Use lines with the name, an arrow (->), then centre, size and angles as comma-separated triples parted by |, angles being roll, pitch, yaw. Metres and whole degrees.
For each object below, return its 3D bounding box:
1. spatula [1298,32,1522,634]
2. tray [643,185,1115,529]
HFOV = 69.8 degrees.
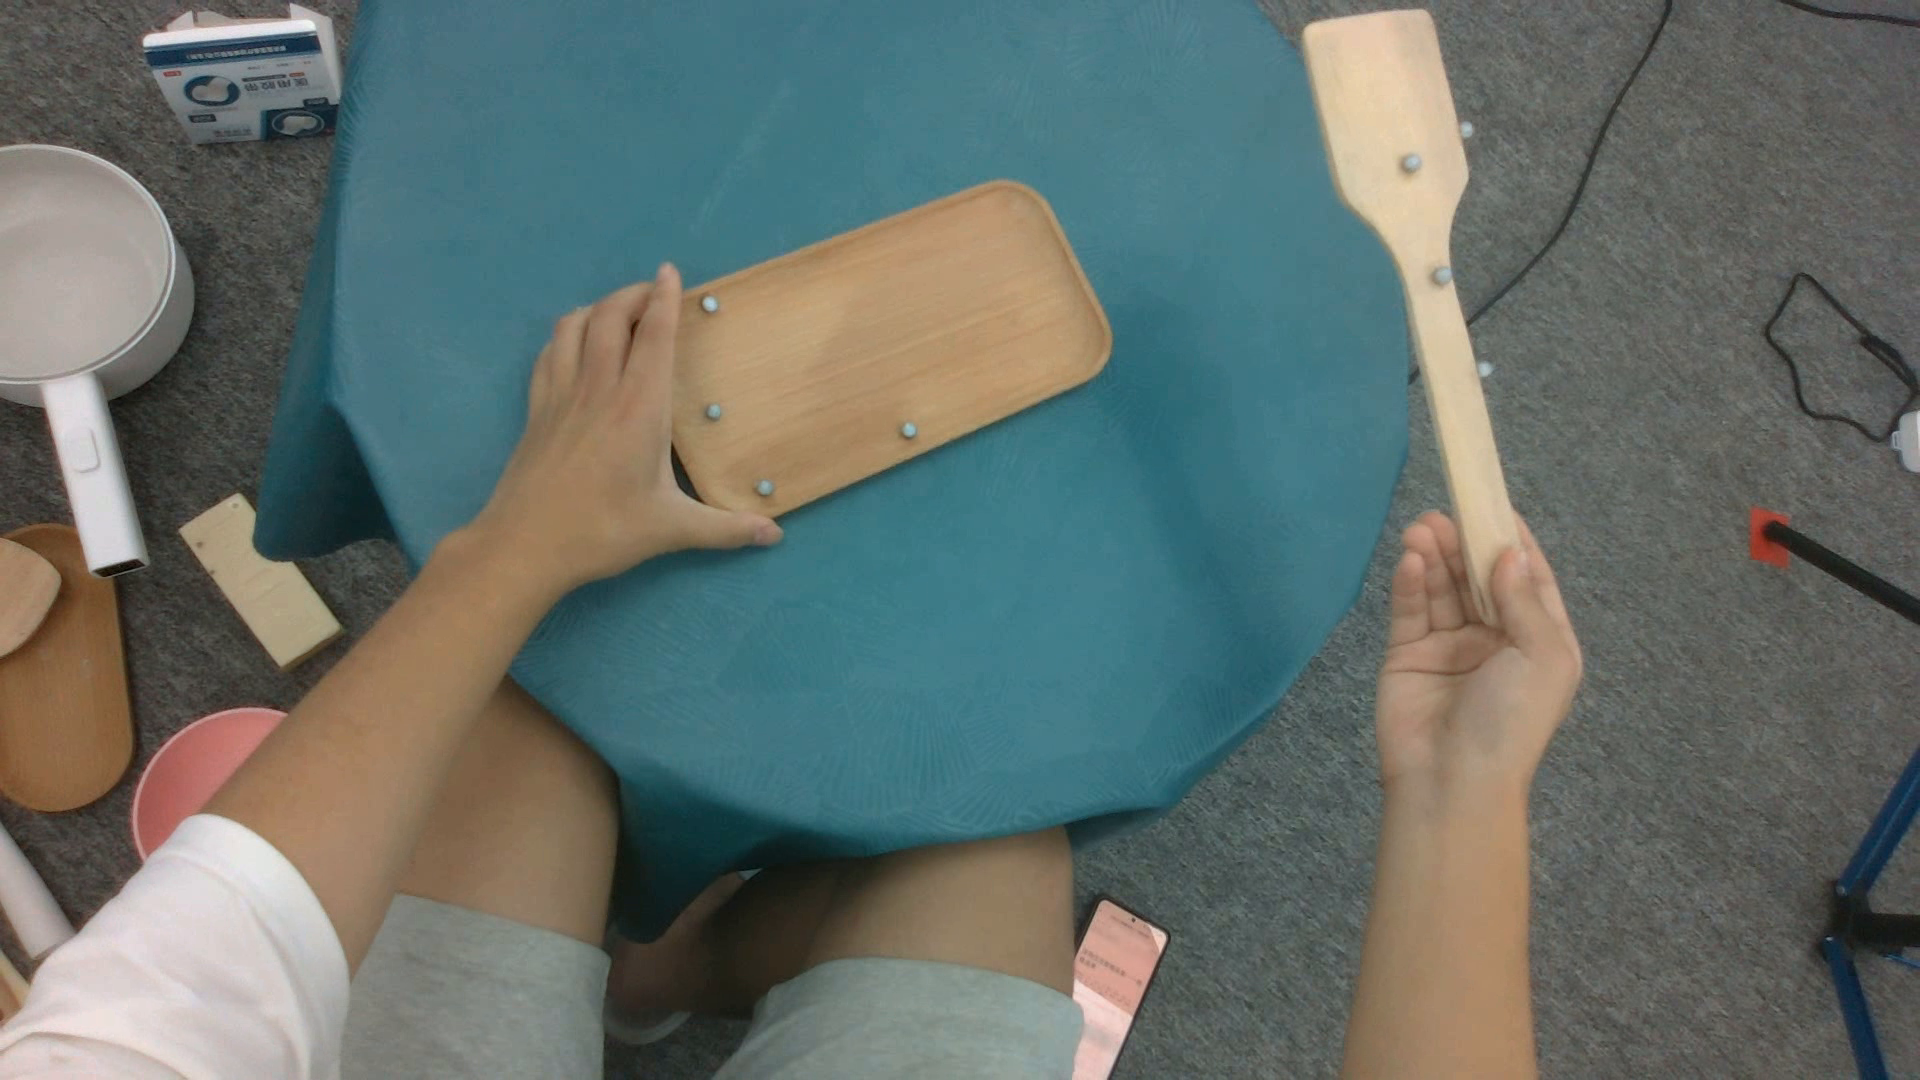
spatula -> 0.224, -0.099, 0.655 | 0.072, 0.010, 0.293 | -12, 87, -15
tray -> -0.040, -0.104, 0.754 | 0.251, 0.023, 0.130 | -25, 86, -19
